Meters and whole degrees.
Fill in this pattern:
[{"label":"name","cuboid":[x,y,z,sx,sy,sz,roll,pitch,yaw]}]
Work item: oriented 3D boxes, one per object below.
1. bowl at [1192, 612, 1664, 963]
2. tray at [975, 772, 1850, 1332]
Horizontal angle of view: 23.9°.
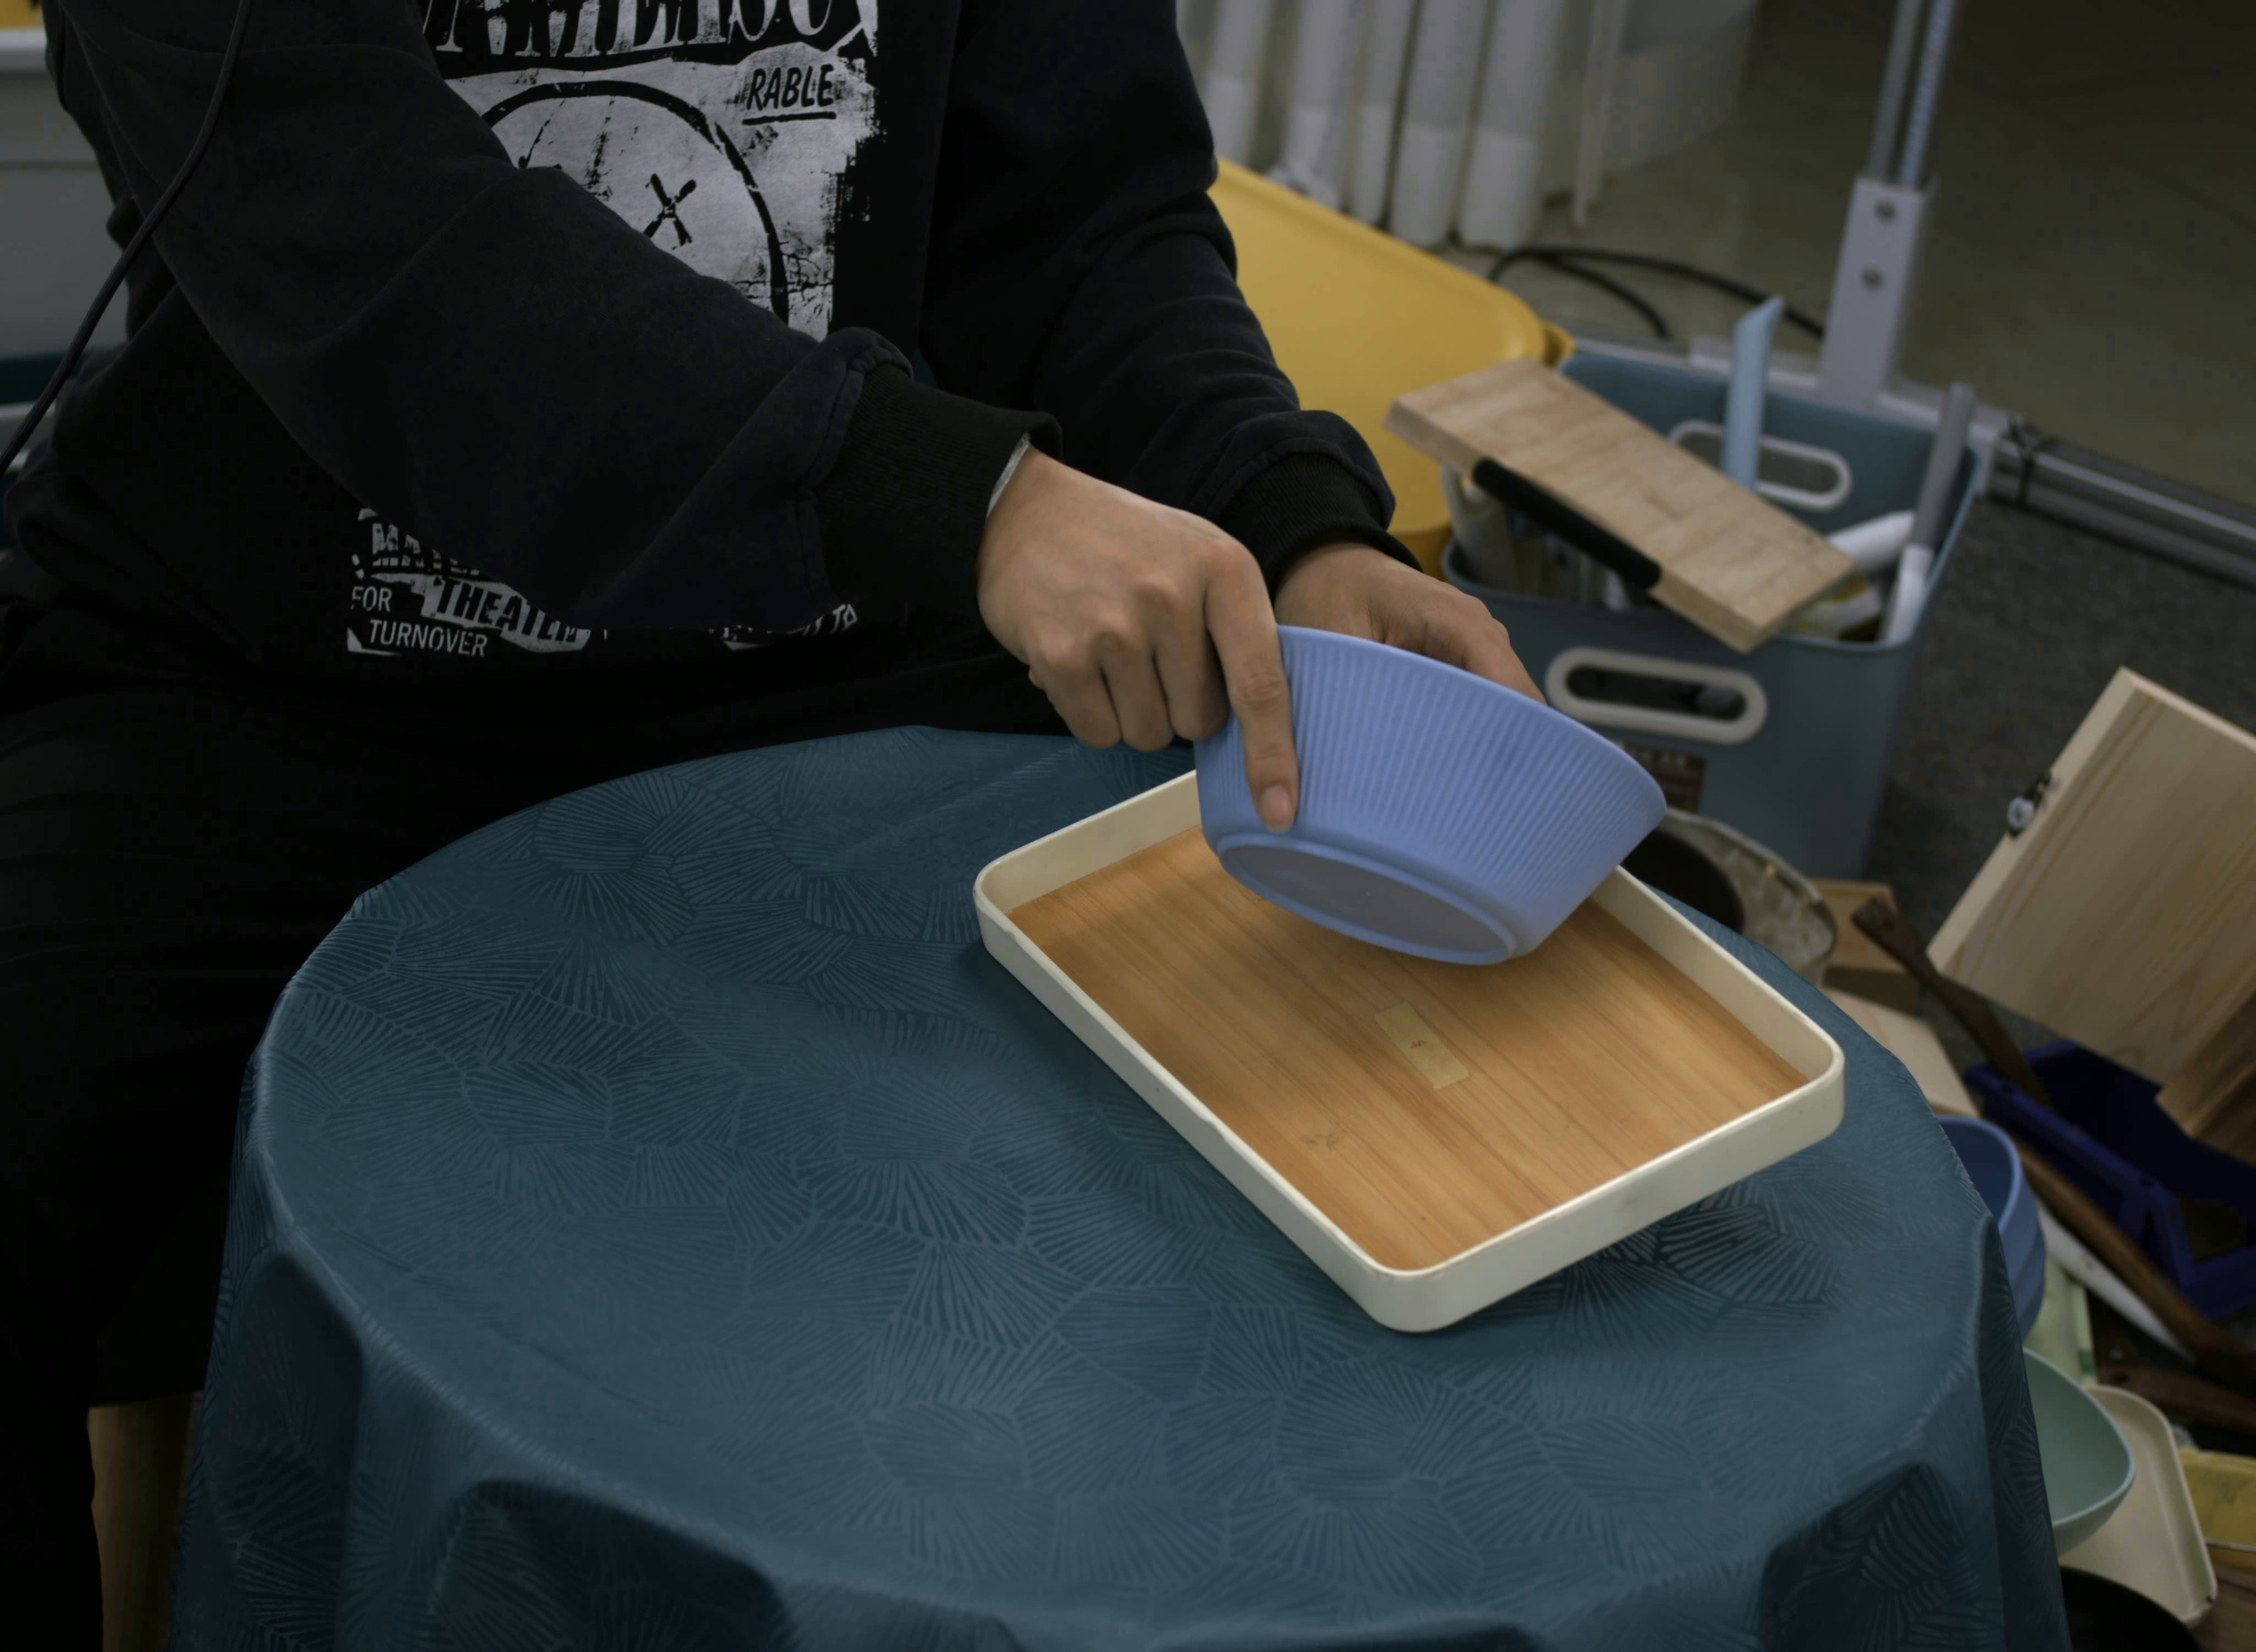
[{"label":"bowl","cuboid":[0.093,-0.006,1.843,0.176,0.070,0.175,21,-14,5]},{"label":"tray","cuboid":[0.095,0.060,1.867,0.191,0.027,0.303,-24,37,-20]}]
